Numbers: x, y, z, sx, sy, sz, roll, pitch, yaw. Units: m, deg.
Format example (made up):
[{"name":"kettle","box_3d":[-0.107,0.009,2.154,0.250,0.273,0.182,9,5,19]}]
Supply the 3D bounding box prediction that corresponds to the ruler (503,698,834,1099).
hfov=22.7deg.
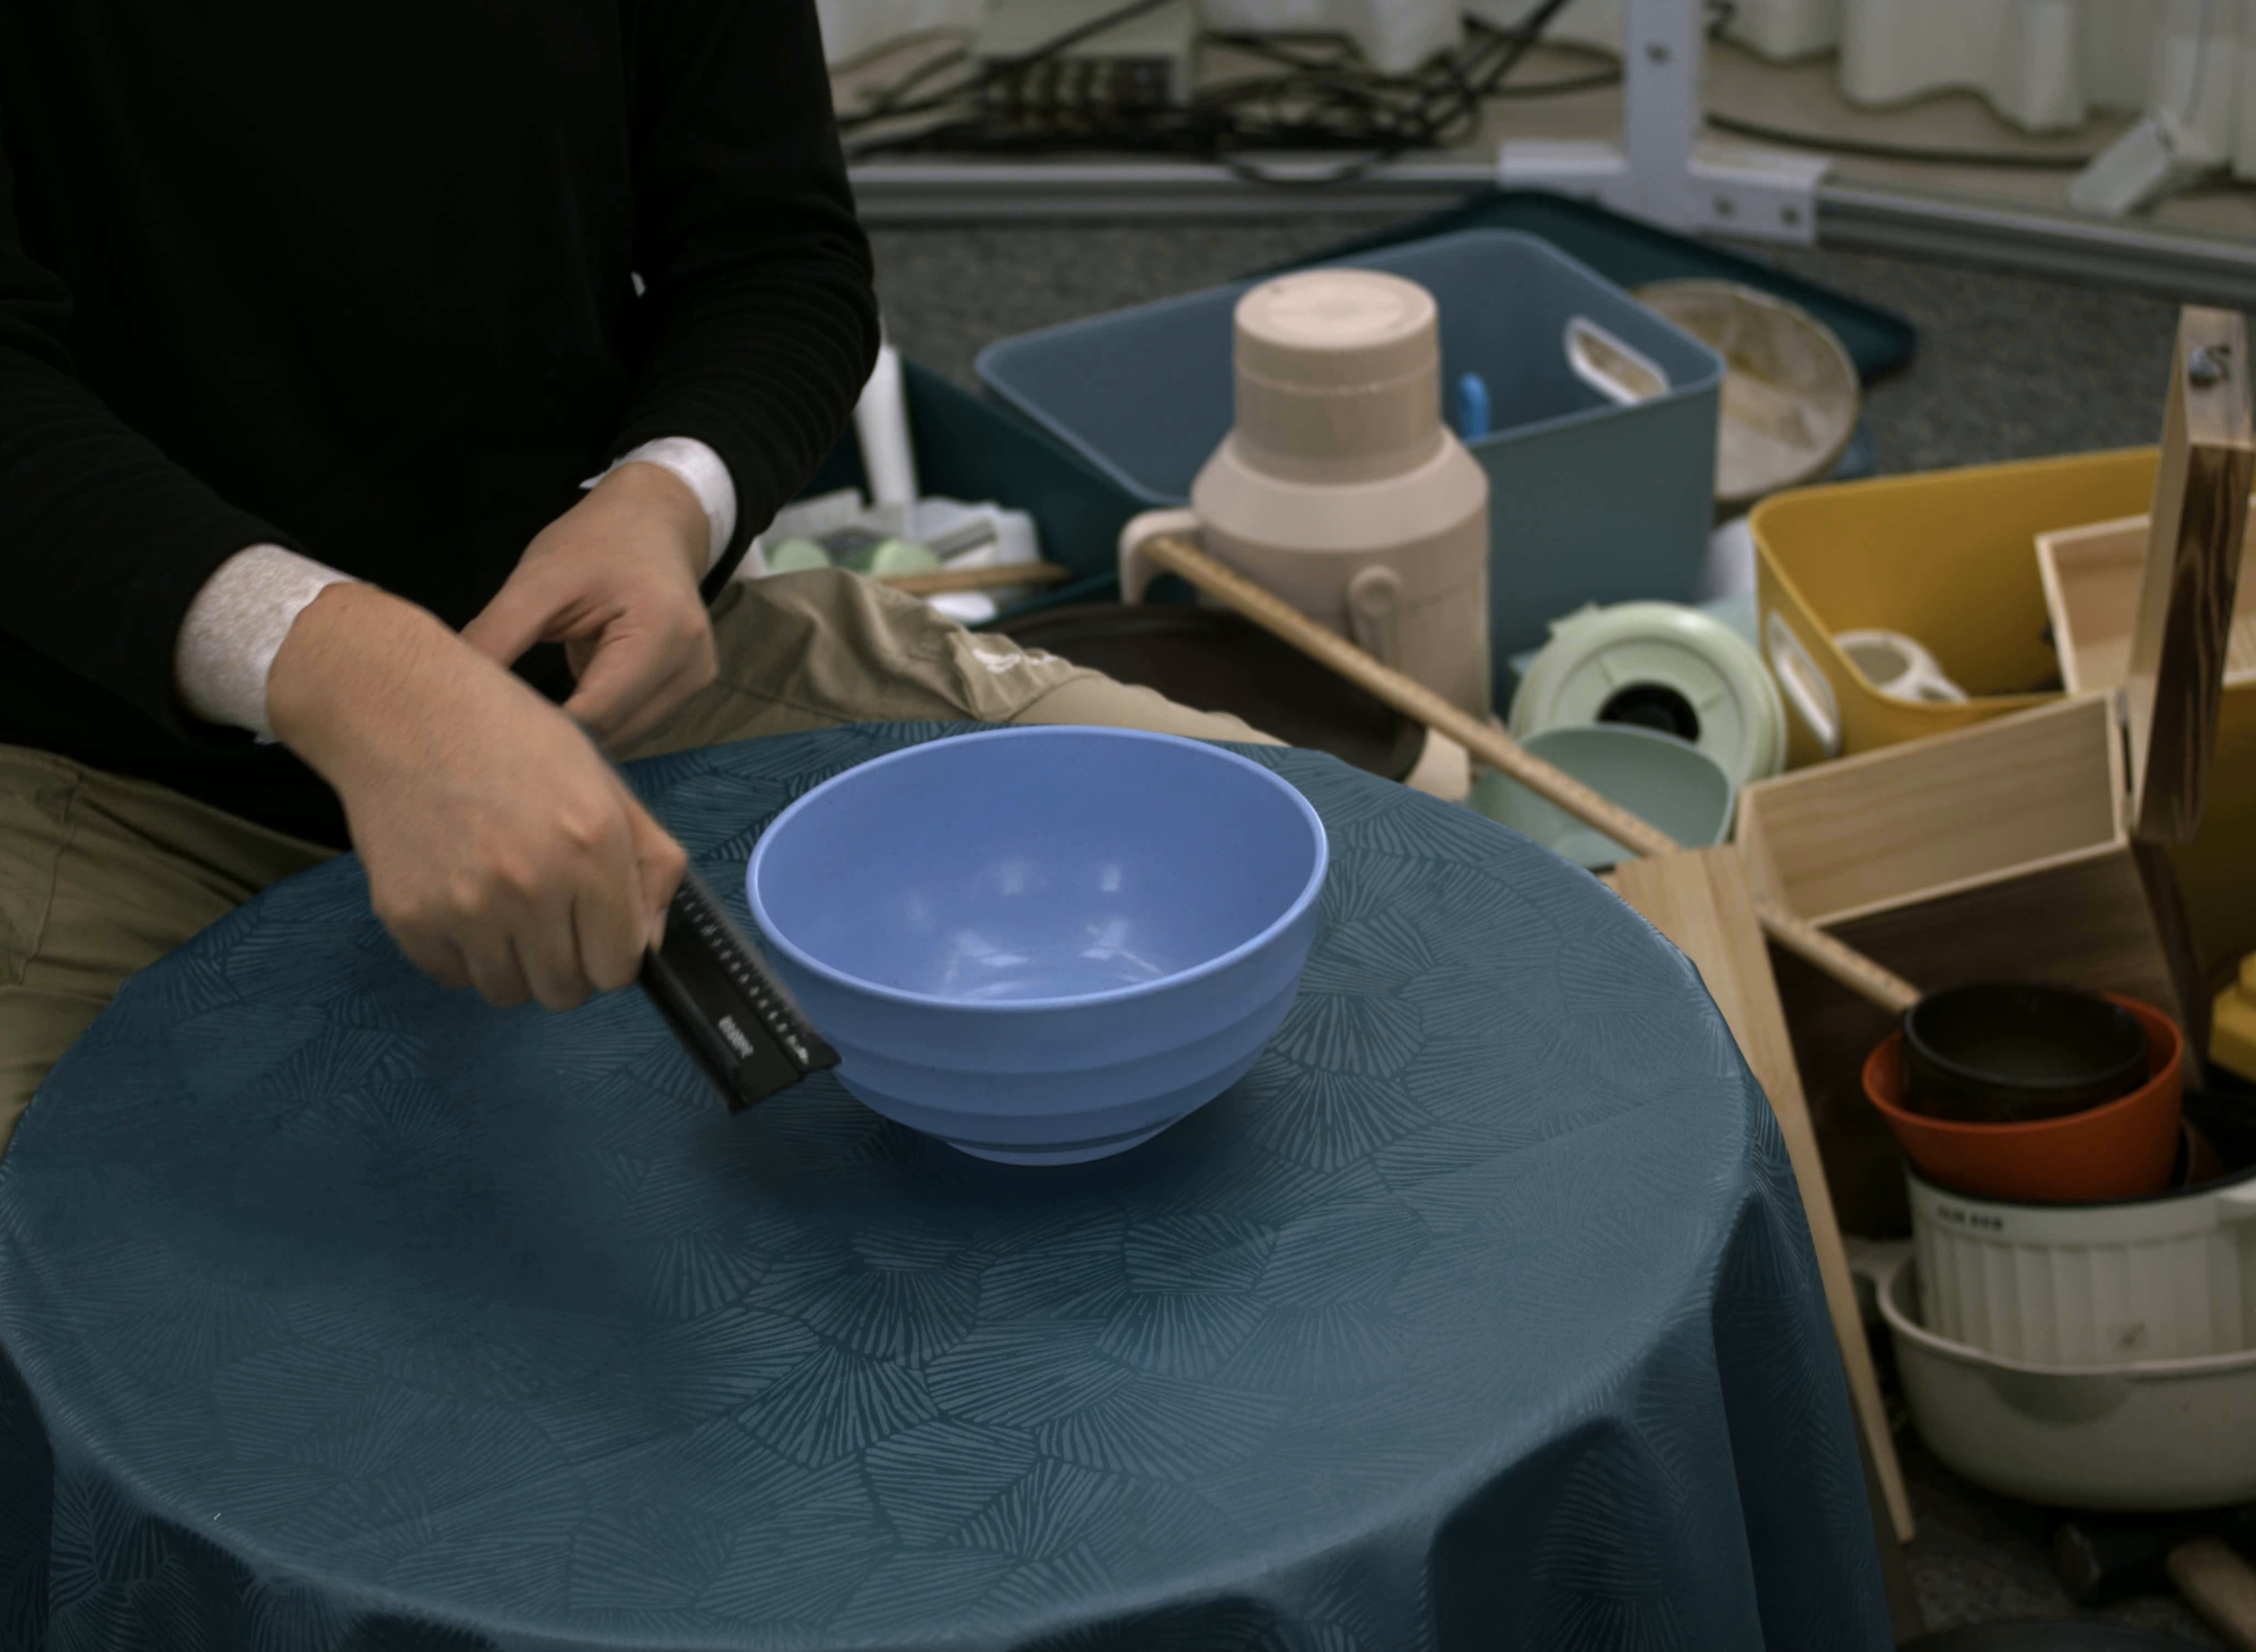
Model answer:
[{"name":"ruler","box_3d":[-0.154,0.014,1.826,0.039,0.017,0.315,-21,27,-11]}]

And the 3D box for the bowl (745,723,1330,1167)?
[{"name":"bowl","box_3d":[-0.029,0.051,1.897,0.195,0.094,0.199,-2,28,1]}]
